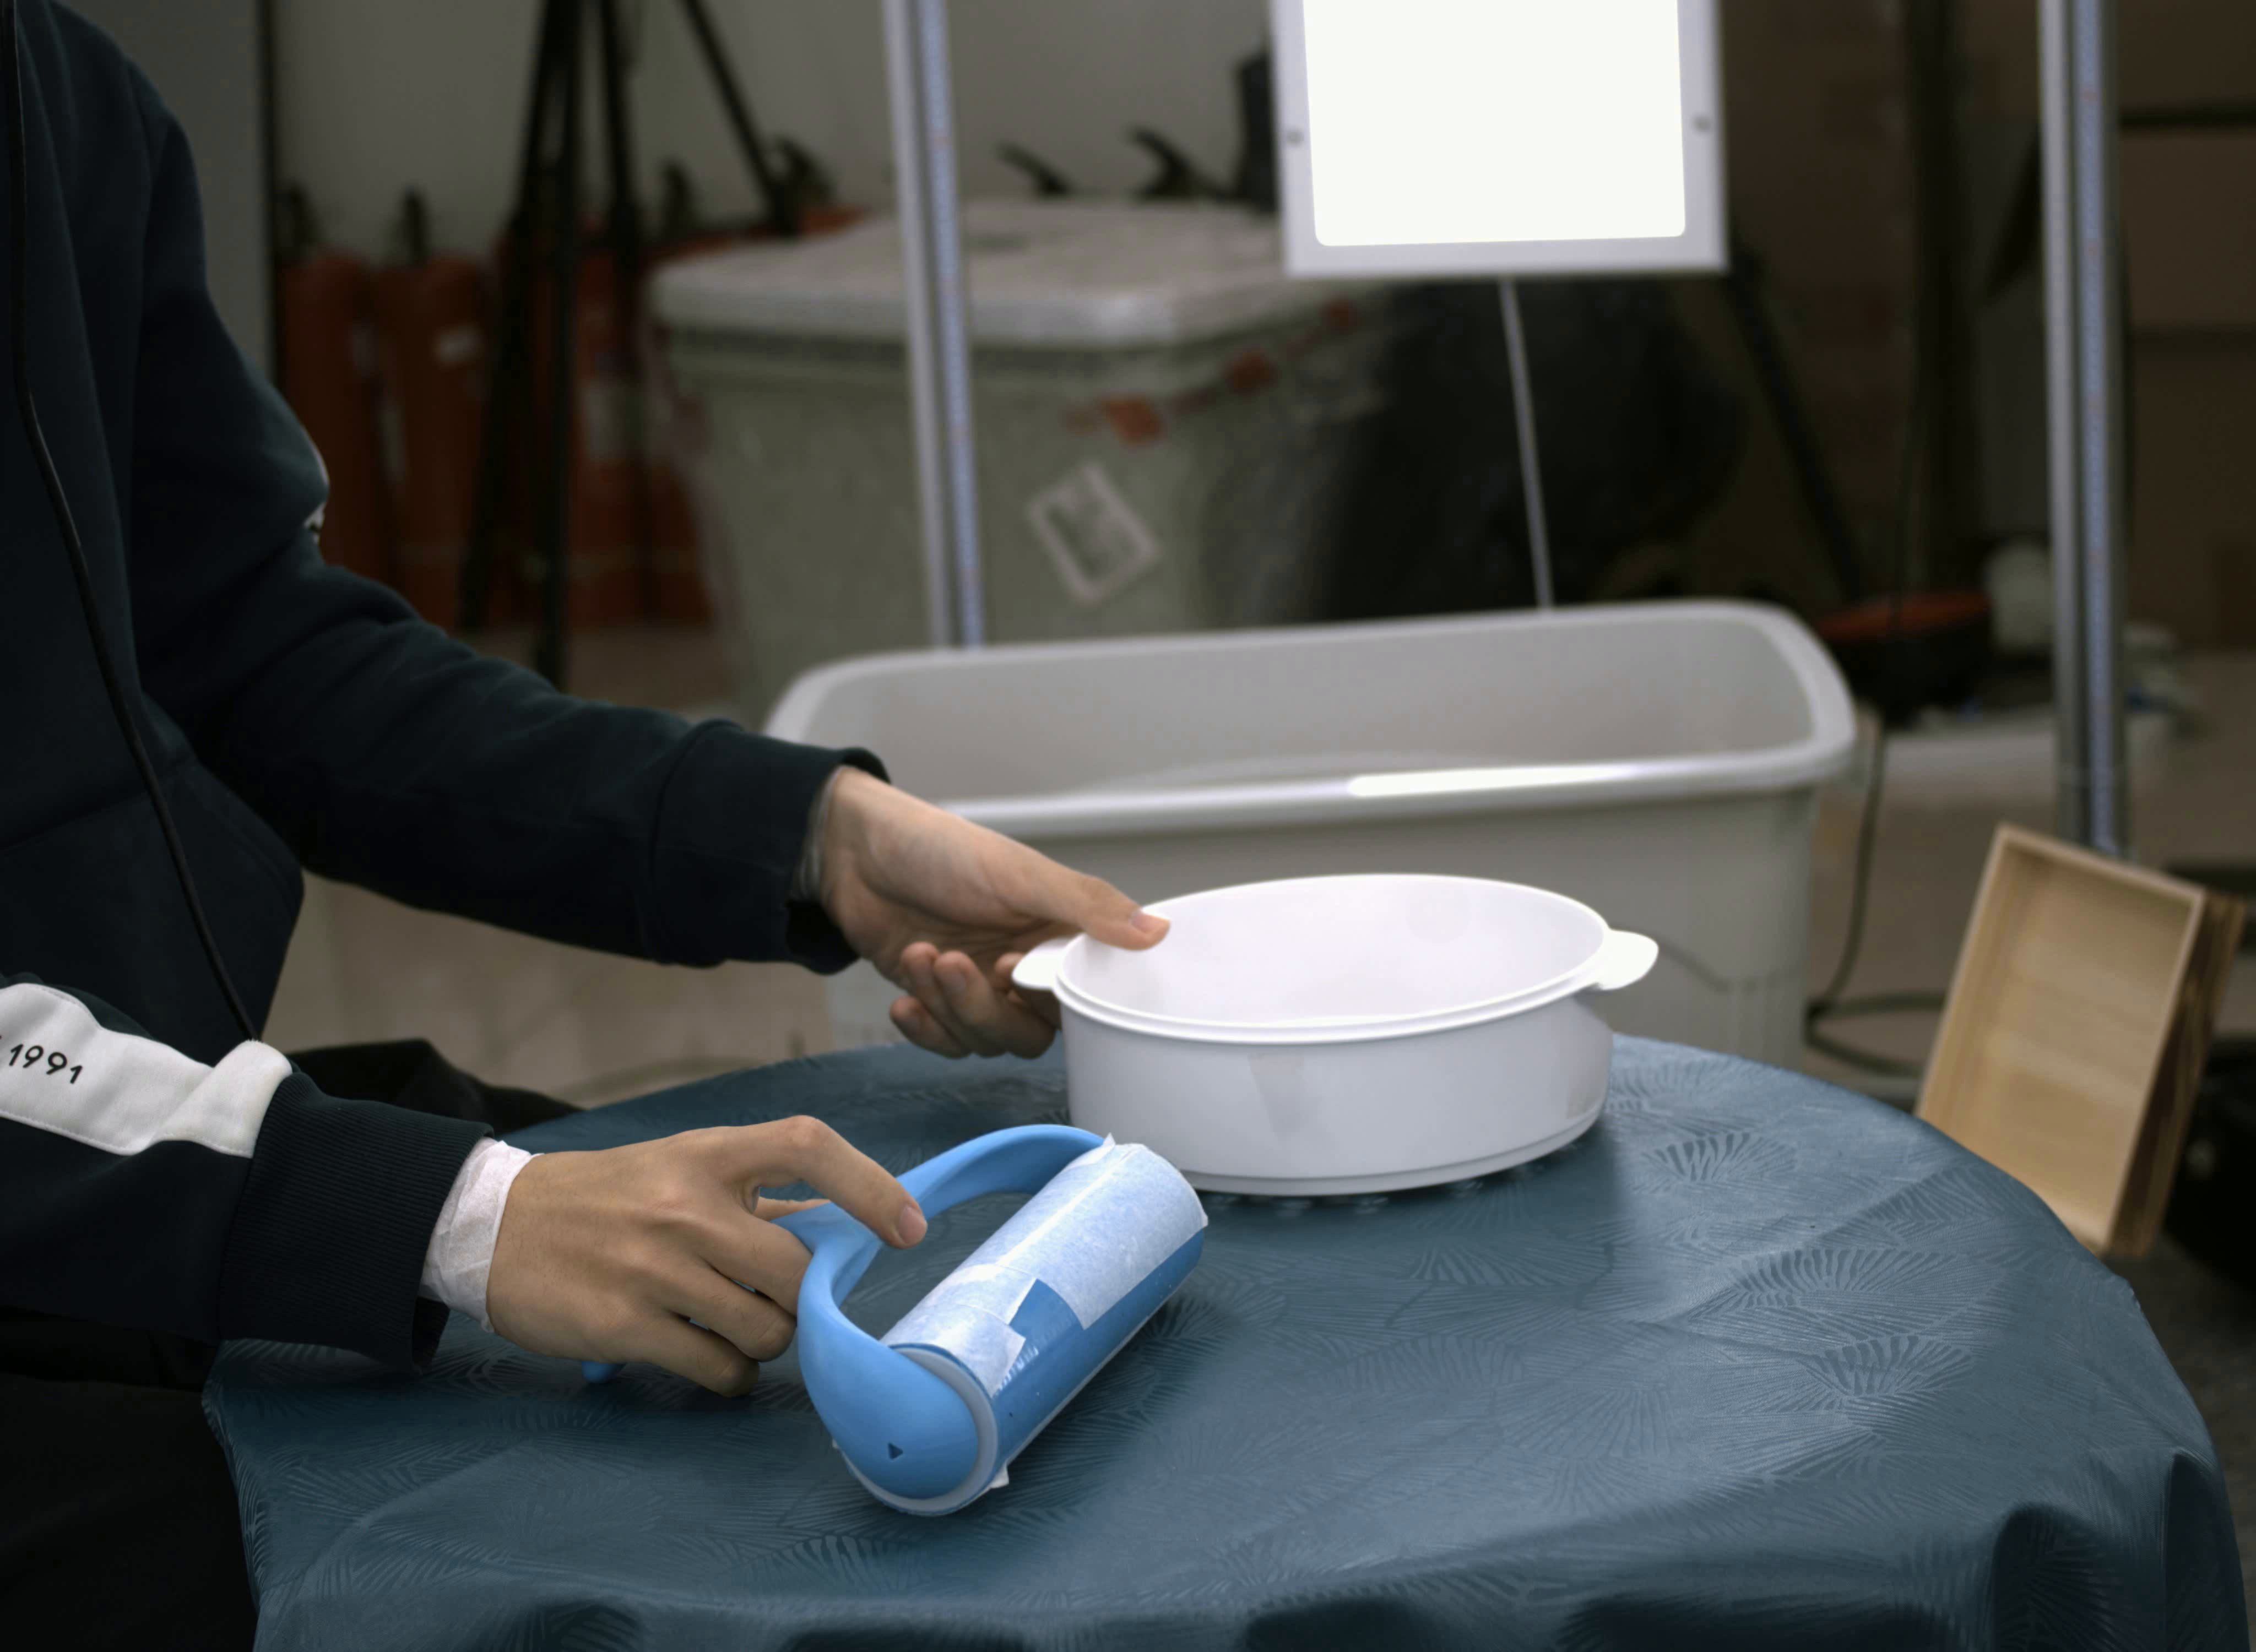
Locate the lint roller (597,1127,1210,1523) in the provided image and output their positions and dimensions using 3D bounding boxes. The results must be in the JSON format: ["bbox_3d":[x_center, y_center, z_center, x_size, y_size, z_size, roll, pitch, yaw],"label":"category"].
[{"bbox_3d":[-0.083,0.152,1.708,0.182,0.068,0.225,0,17,16],"label":"lint roller"}]

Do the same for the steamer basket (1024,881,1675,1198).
[{"bbox_3d":[0.079,0.075,1.935,0.233,0.069,0.199,-2,13,17],"label":"steamer basket"}]
